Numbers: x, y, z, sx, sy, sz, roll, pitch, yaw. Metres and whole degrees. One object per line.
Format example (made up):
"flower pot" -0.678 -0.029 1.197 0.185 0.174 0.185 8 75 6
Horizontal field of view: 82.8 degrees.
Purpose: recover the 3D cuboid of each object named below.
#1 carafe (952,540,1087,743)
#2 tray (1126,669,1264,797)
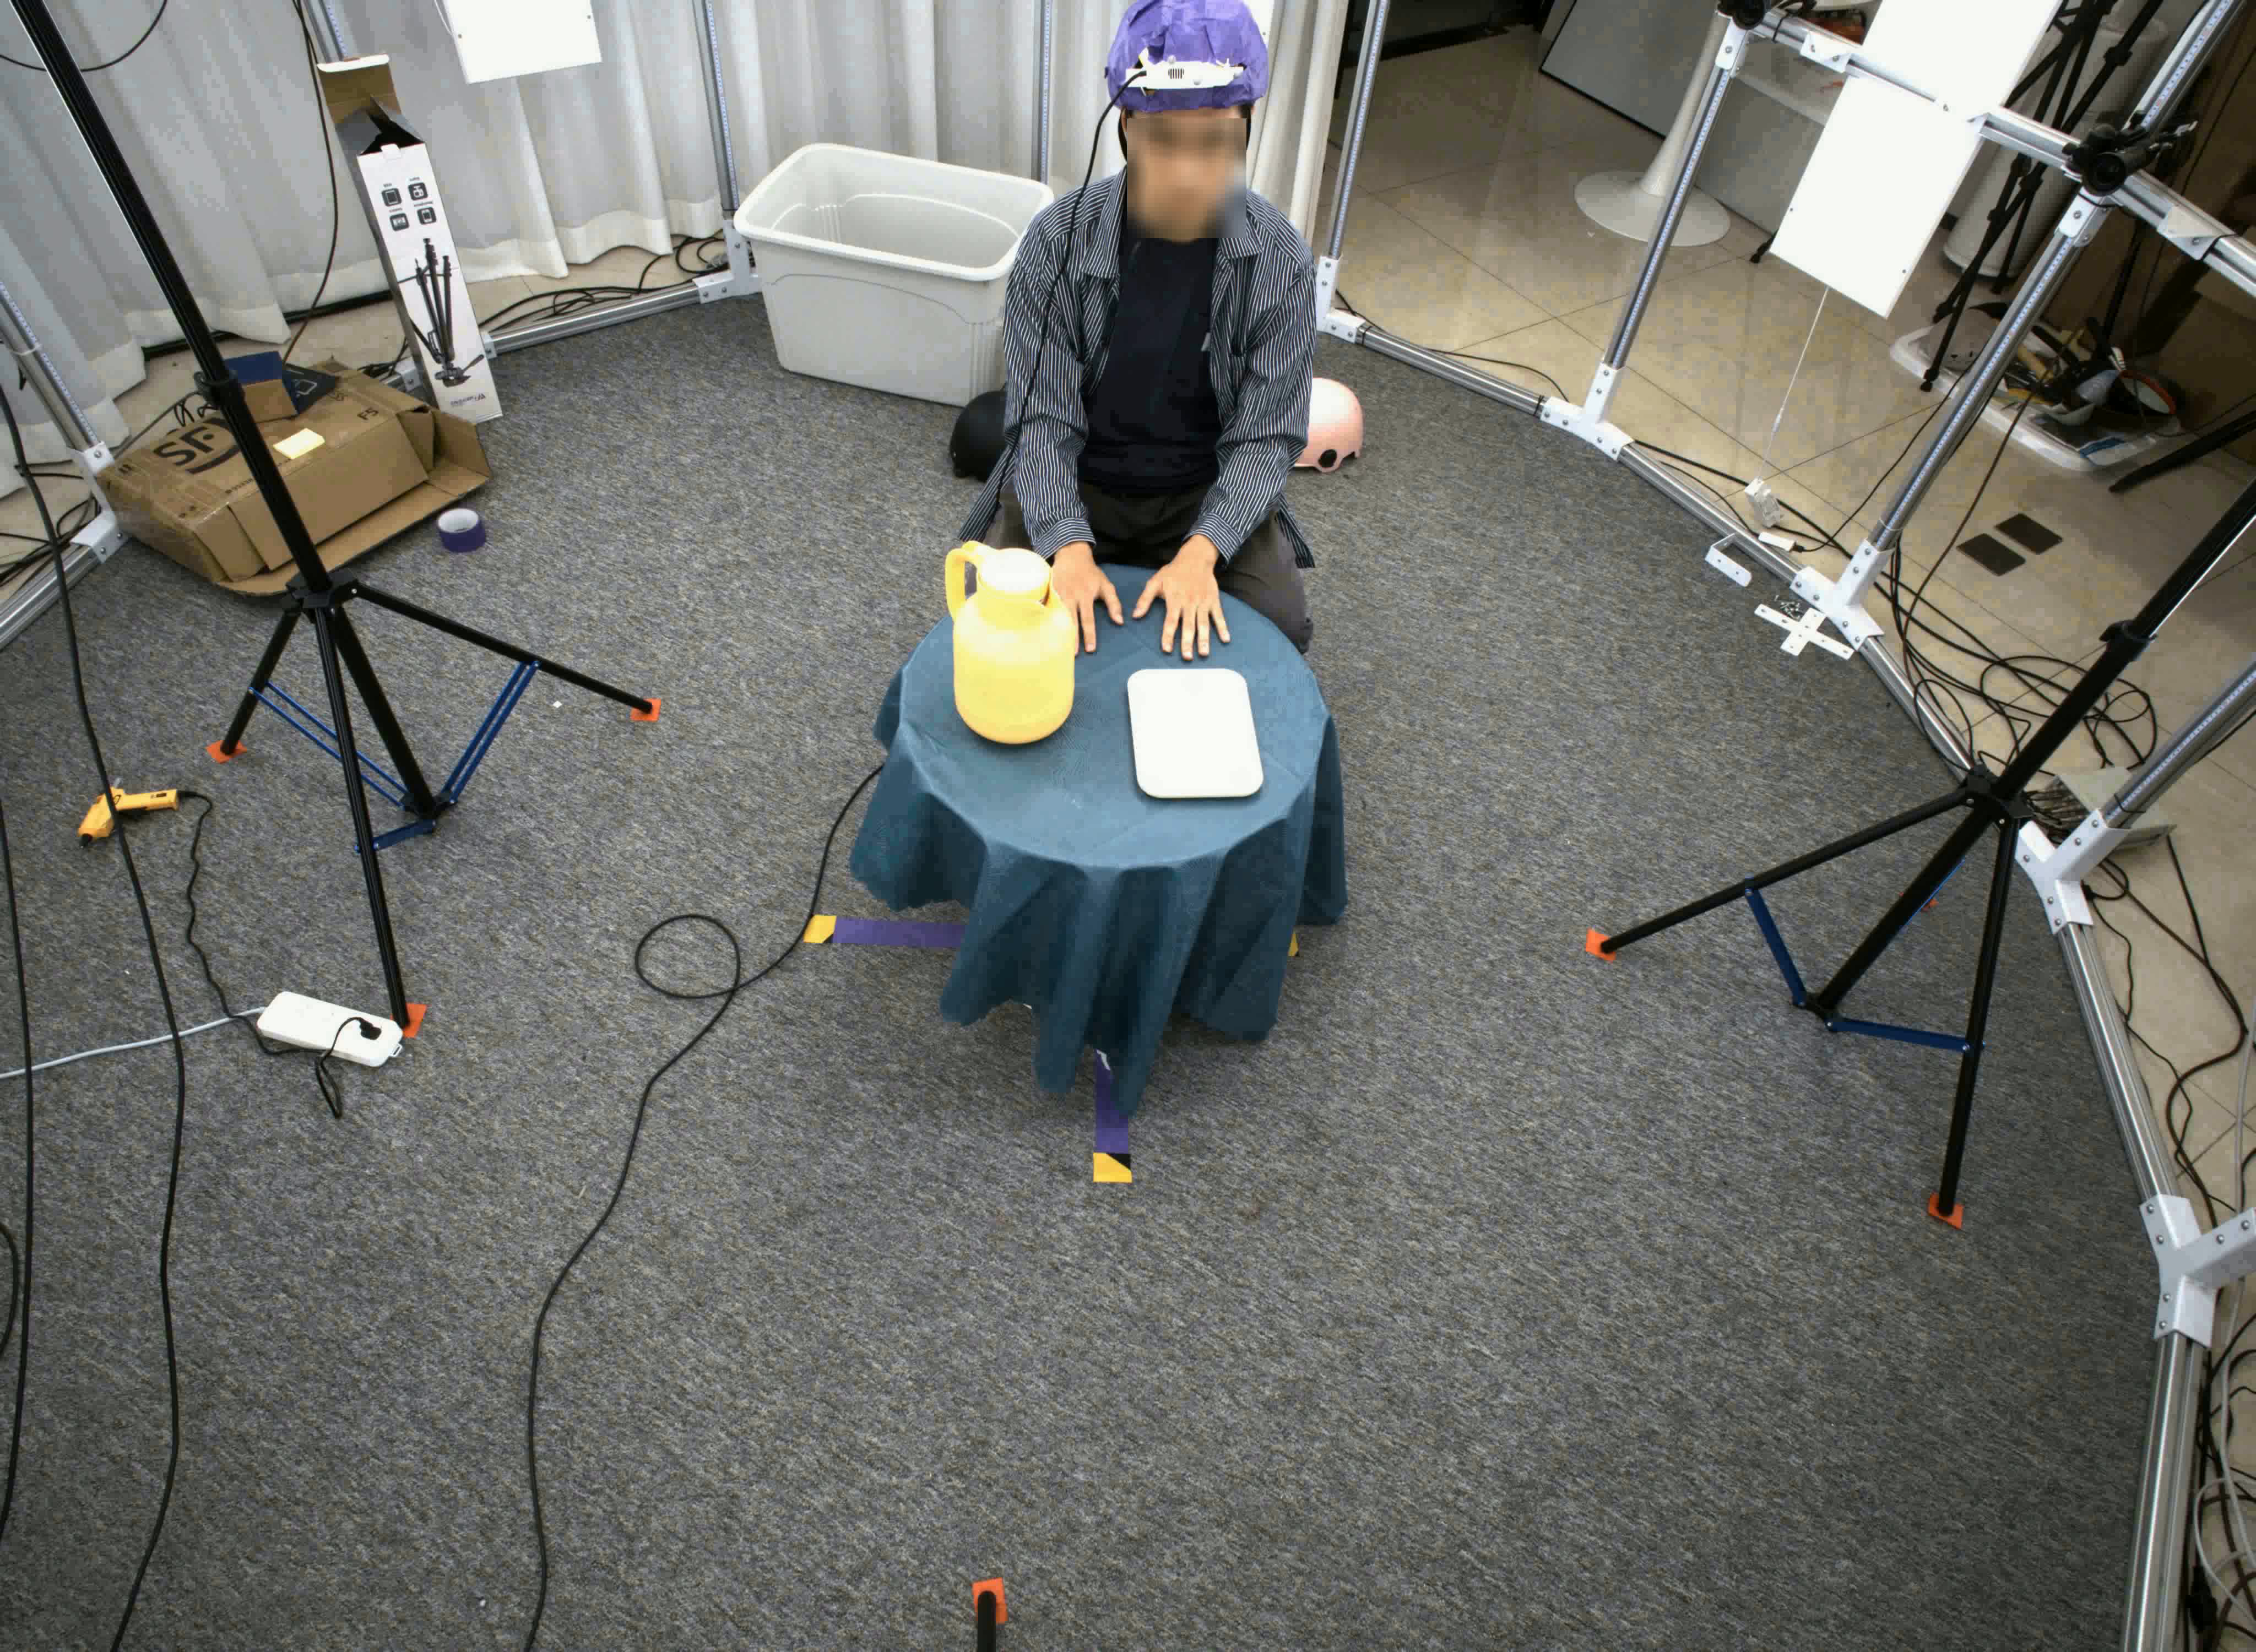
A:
"carafe" -0.149 -0.254 1.698 0.205 0.254 0.165 35 53 23
"tray" 0.089 -0.129 1.767 0.171 0.017 0.246 -1 48 -6
